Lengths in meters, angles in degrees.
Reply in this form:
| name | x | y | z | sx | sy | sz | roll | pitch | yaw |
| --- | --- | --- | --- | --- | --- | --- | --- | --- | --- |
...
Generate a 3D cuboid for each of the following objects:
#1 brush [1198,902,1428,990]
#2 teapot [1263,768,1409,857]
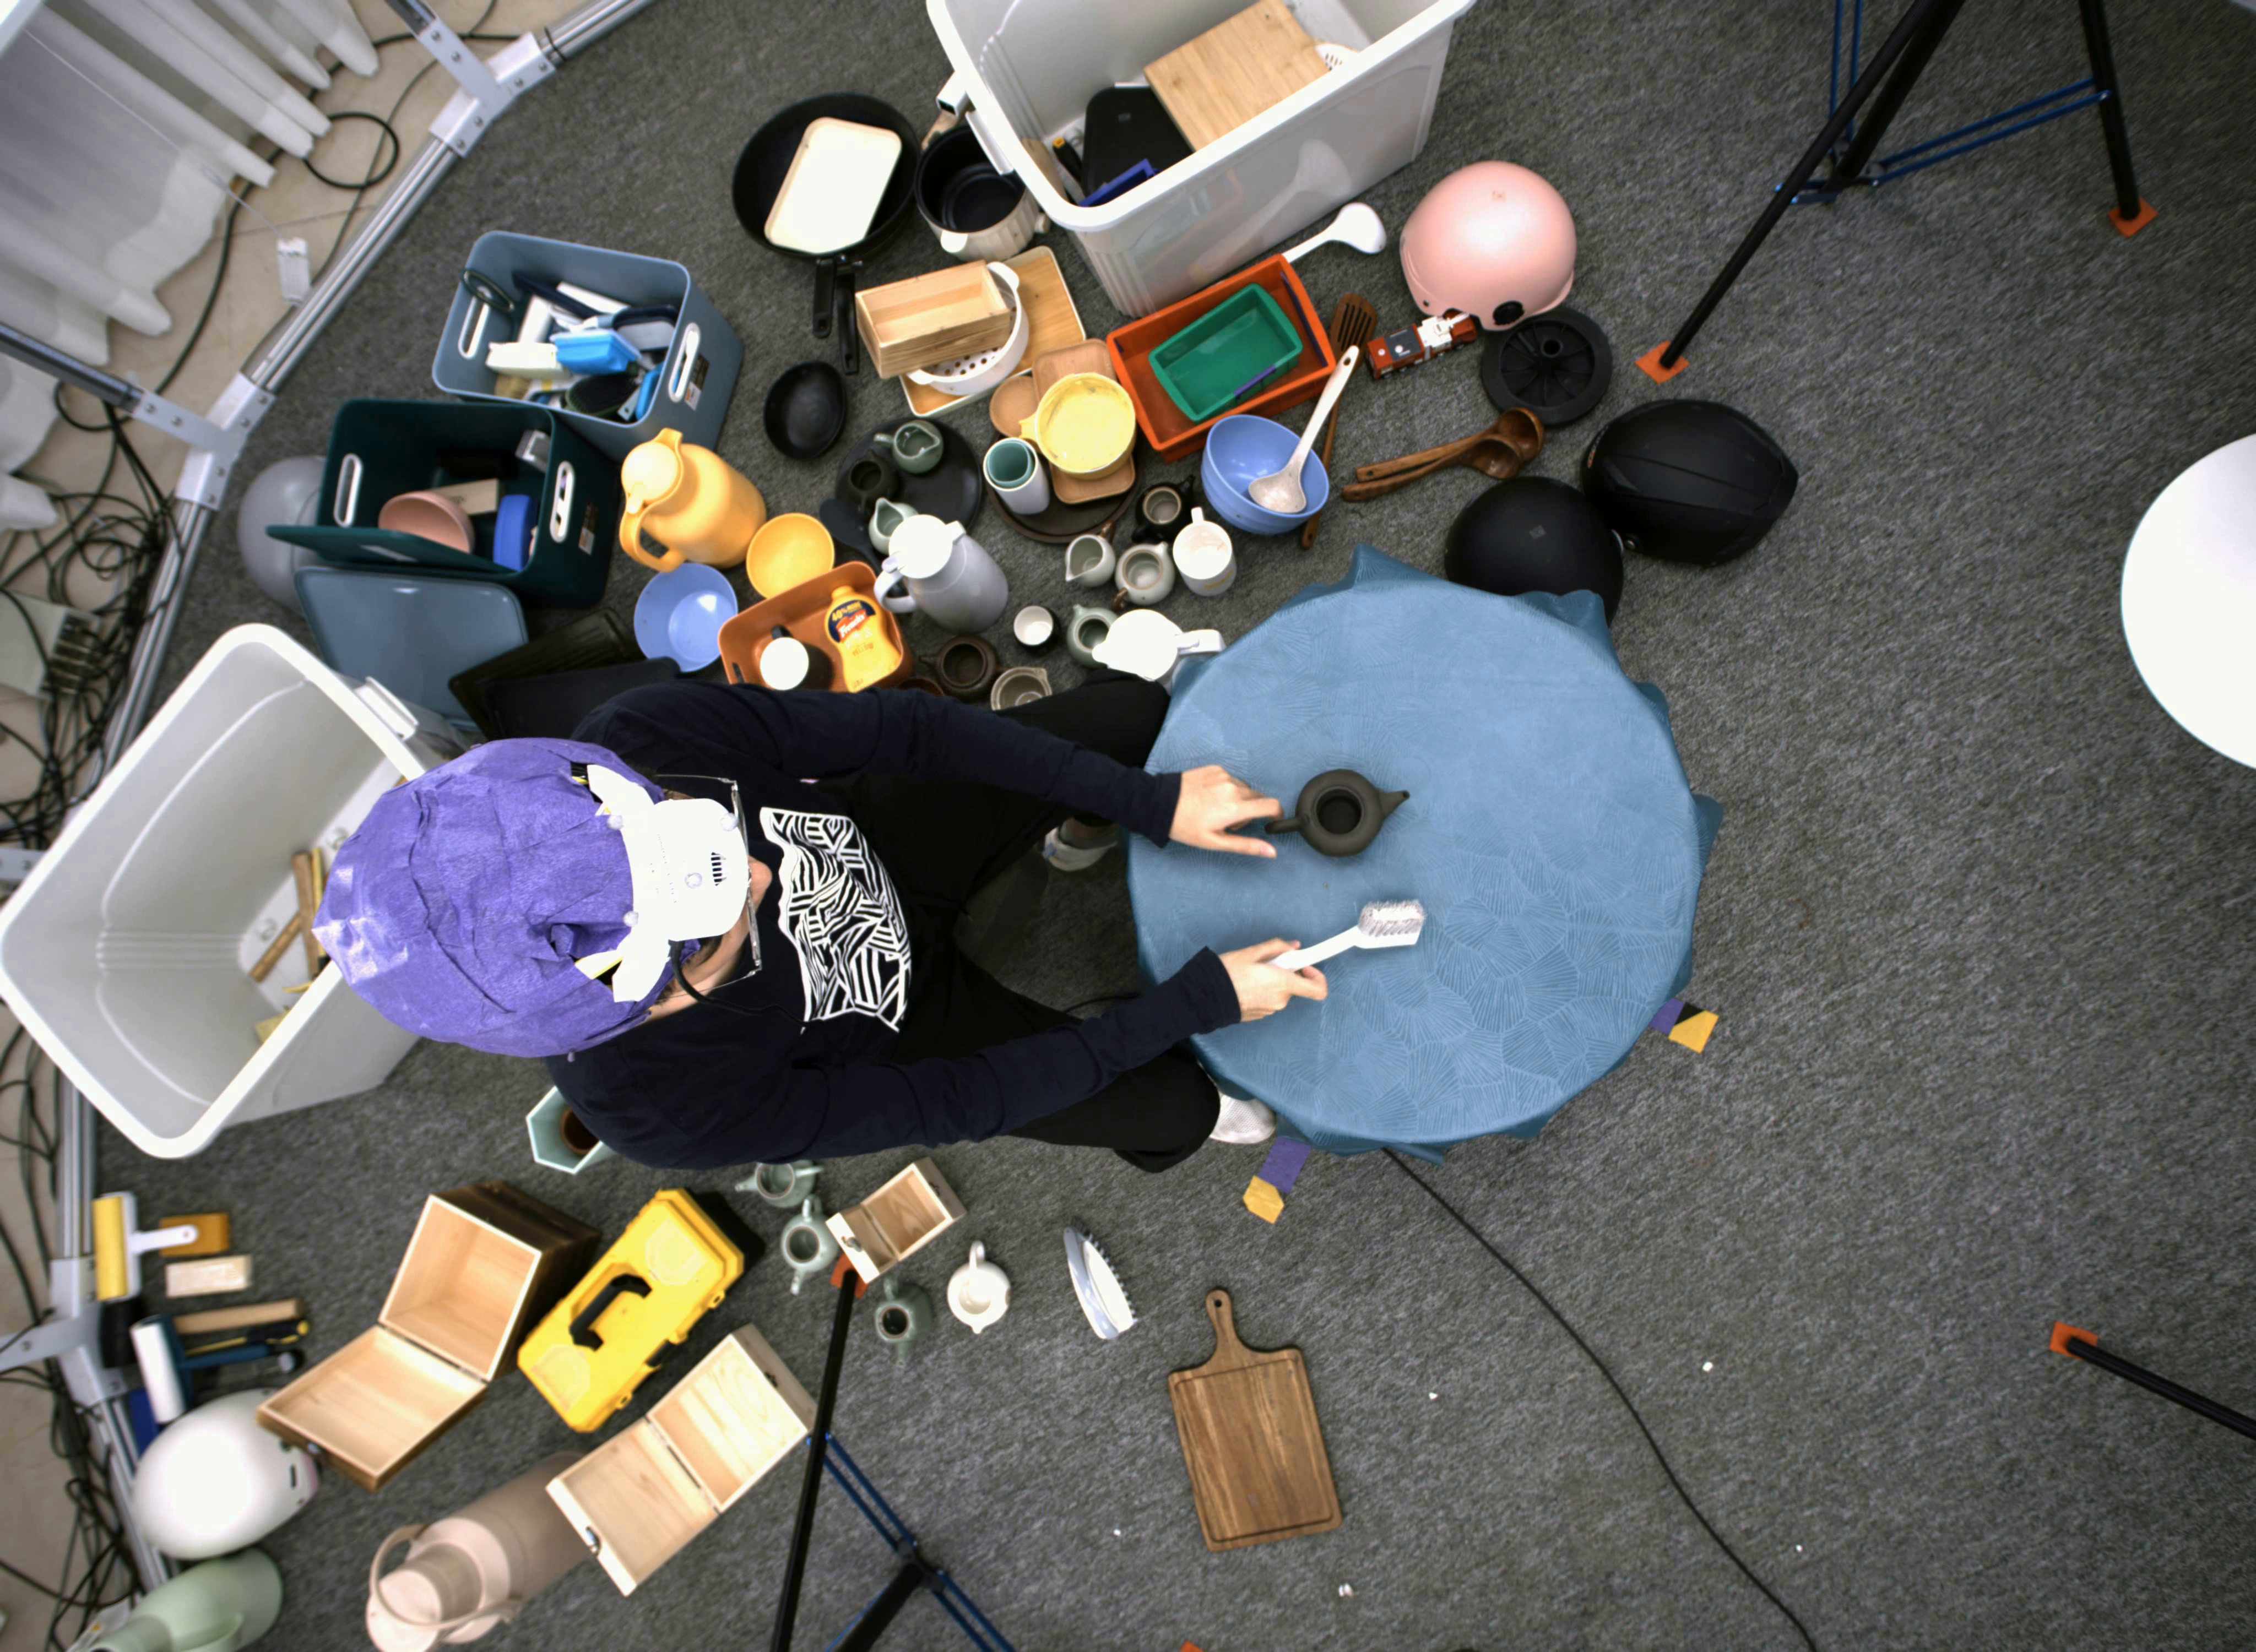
| name | x | y | z | sx | sy | sz | roll | pitch | yaw |
| --- | --- | --- | --- | --- | --- | --- | --- | --- | --- |
| brush | 0.189 | 0.122 | 1.428 | 0.244 | 0.051 | 0.033 | -14 | 53 | 2 |
| teapot | 0.217 | -0.014 | 1.442 | 0.155 | 0.064 | 0.092 | -12 | 85 | 10 |
